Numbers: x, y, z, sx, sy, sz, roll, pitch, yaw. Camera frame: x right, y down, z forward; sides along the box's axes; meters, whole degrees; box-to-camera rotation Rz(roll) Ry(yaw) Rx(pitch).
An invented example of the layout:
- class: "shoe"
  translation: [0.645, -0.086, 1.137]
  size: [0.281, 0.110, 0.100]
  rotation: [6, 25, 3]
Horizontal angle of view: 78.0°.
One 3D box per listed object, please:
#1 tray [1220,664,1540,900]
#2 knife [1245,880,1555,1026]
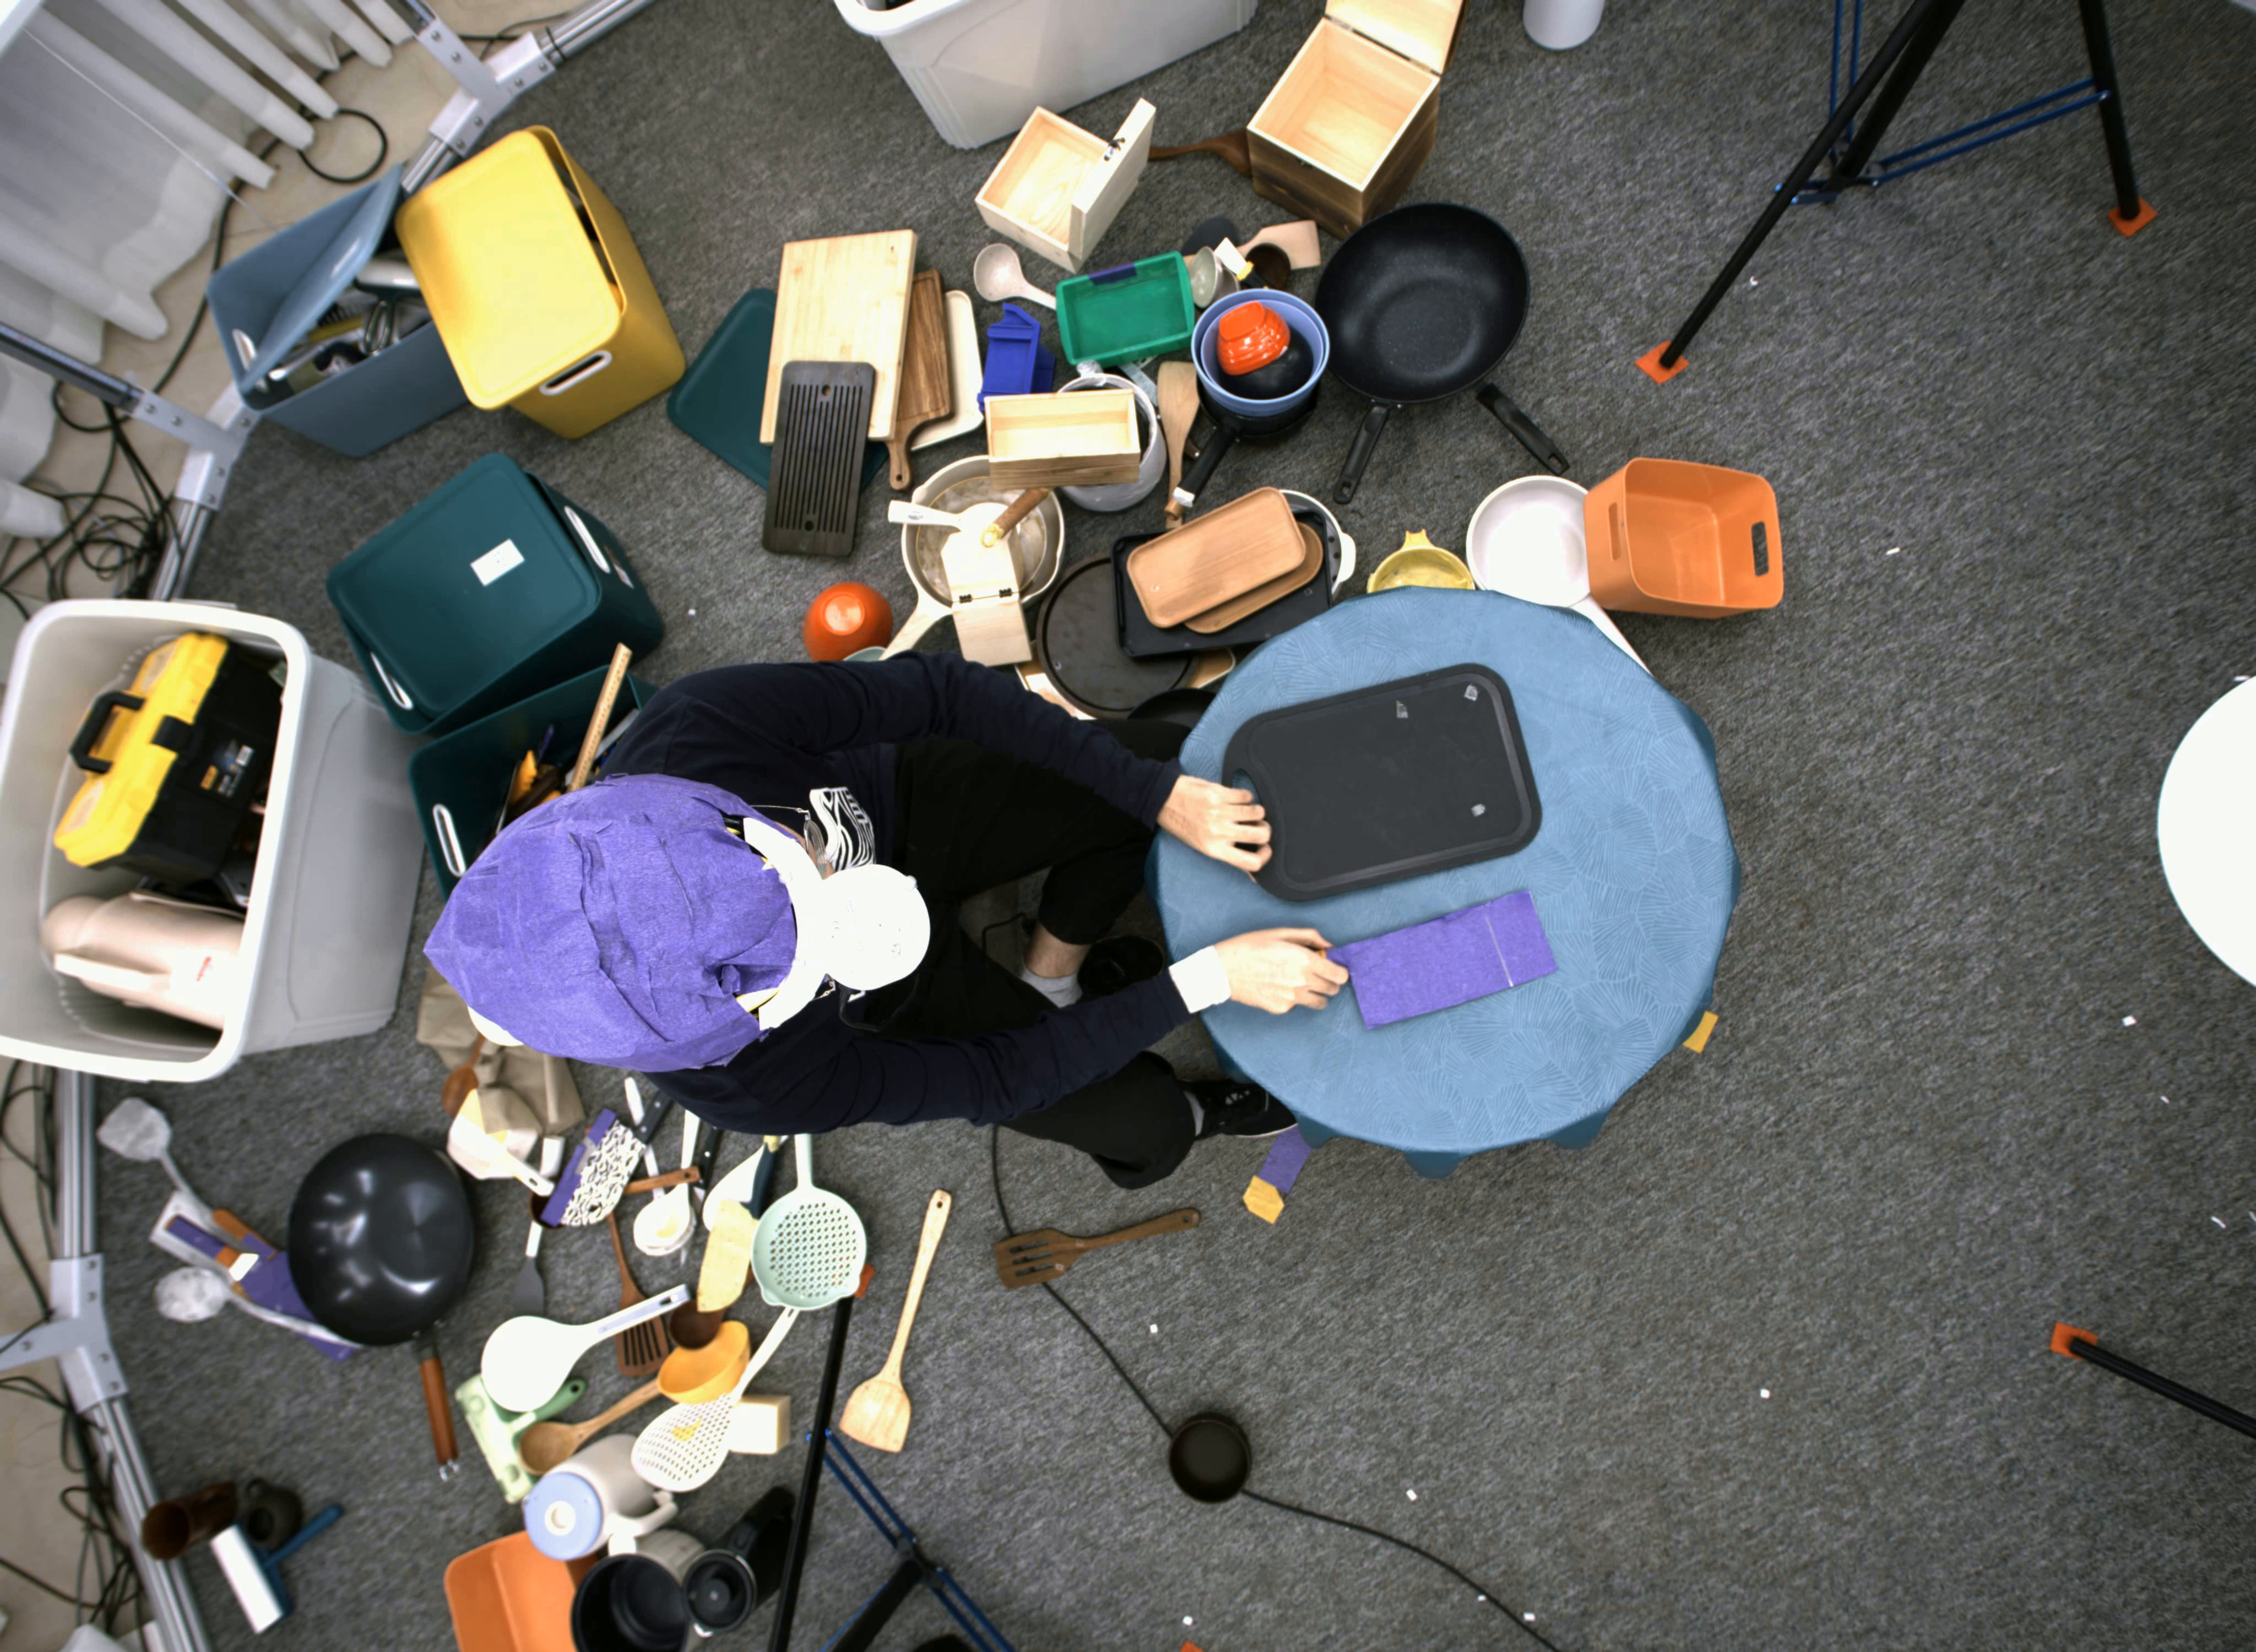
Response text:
- class: "tray"
  translation: [0.260, -0.046, 1.454]
  size: [0.326, 0.010, 0.209]
  rotation: [-13, 84, 6]
- class: "knife"
  translation: [0.283, 0.150, 1.434]
  size: [0.317, 0.032, 0.103]
  rotation: [-19, 84, 7]
